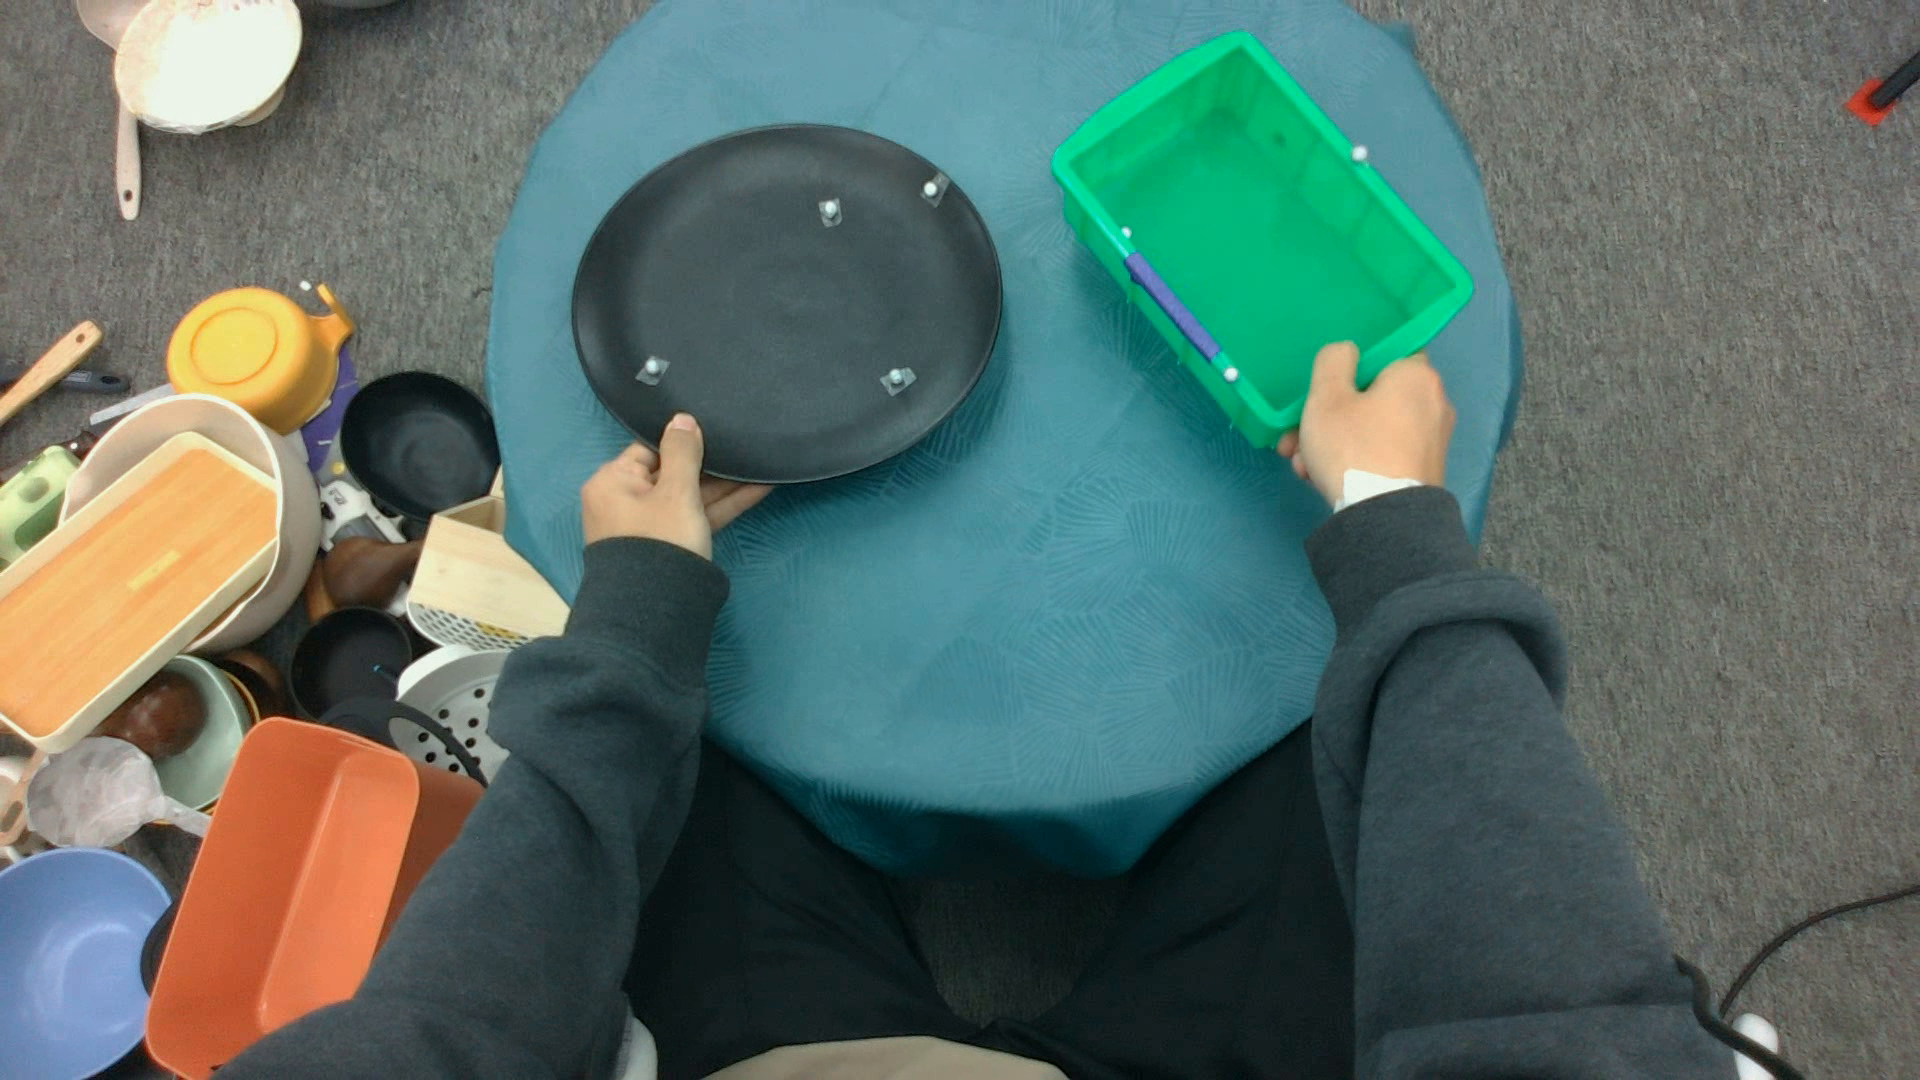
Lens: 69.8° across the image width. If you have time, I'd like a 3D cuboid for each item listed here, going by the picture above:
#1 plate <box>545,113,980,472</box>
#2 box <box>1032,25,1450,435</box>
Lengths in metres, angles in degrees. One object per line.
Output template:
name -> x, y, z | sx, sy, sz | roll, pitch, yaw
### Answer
plate -> -0.111, -0.142, 0.786 | 0.244, 0.023, 0.245 | 1, 65, -1
box -> 0.149, -0.167, 0.763 | 0.139, 0.065, 0.210 | -37, 79, -8
